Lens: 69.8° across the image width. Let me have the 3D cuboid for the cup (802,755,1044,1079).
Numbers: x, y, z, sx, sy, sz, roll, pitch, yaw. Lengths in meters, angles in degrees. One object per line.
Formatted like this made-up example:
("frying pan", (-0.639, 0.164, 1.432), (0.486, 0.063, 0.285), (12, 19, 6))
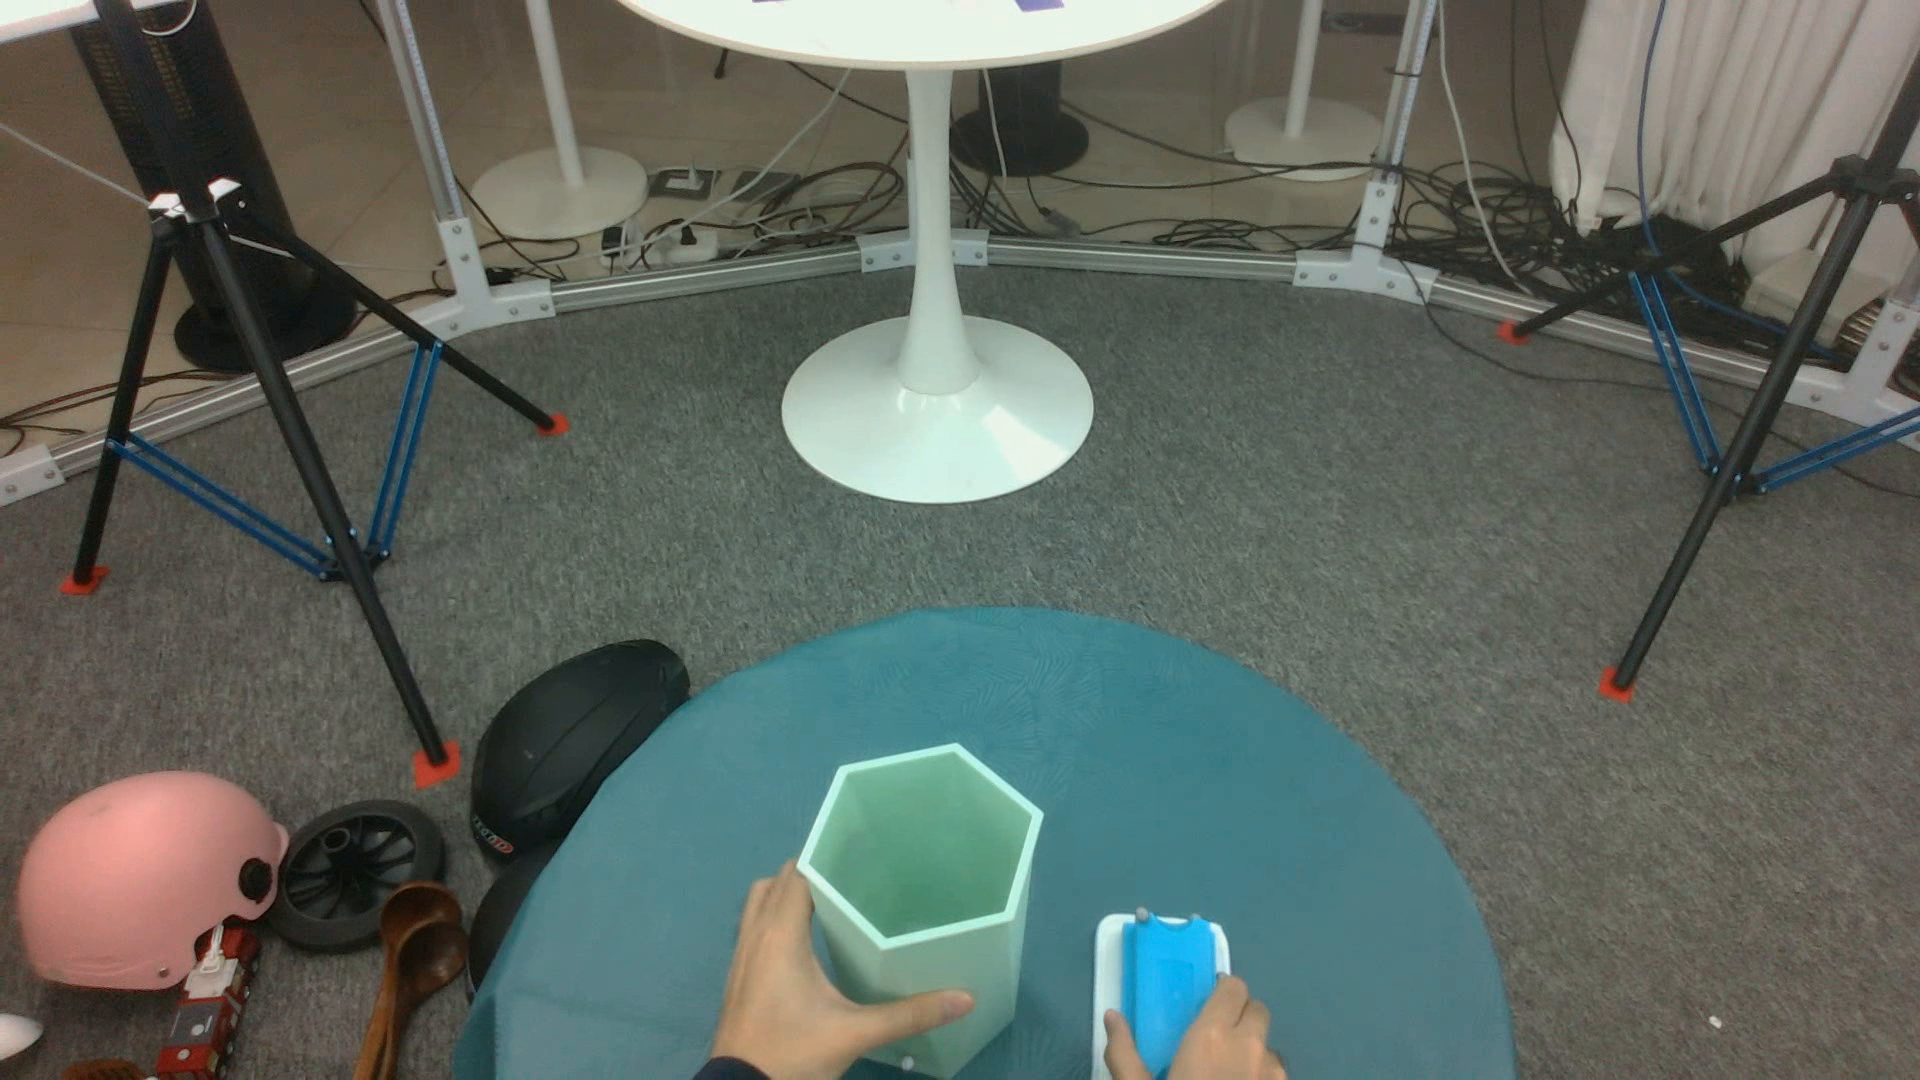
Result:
("cup", (-0.019, 0.220, 0.777), (0.131, 0.162, 0.115), (-11, 46, -11))

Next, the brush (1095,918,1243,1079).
("brush", (0.121, 0.276, 0.787), (0.084, 0.055, 0.144), (3, 40, 8))
